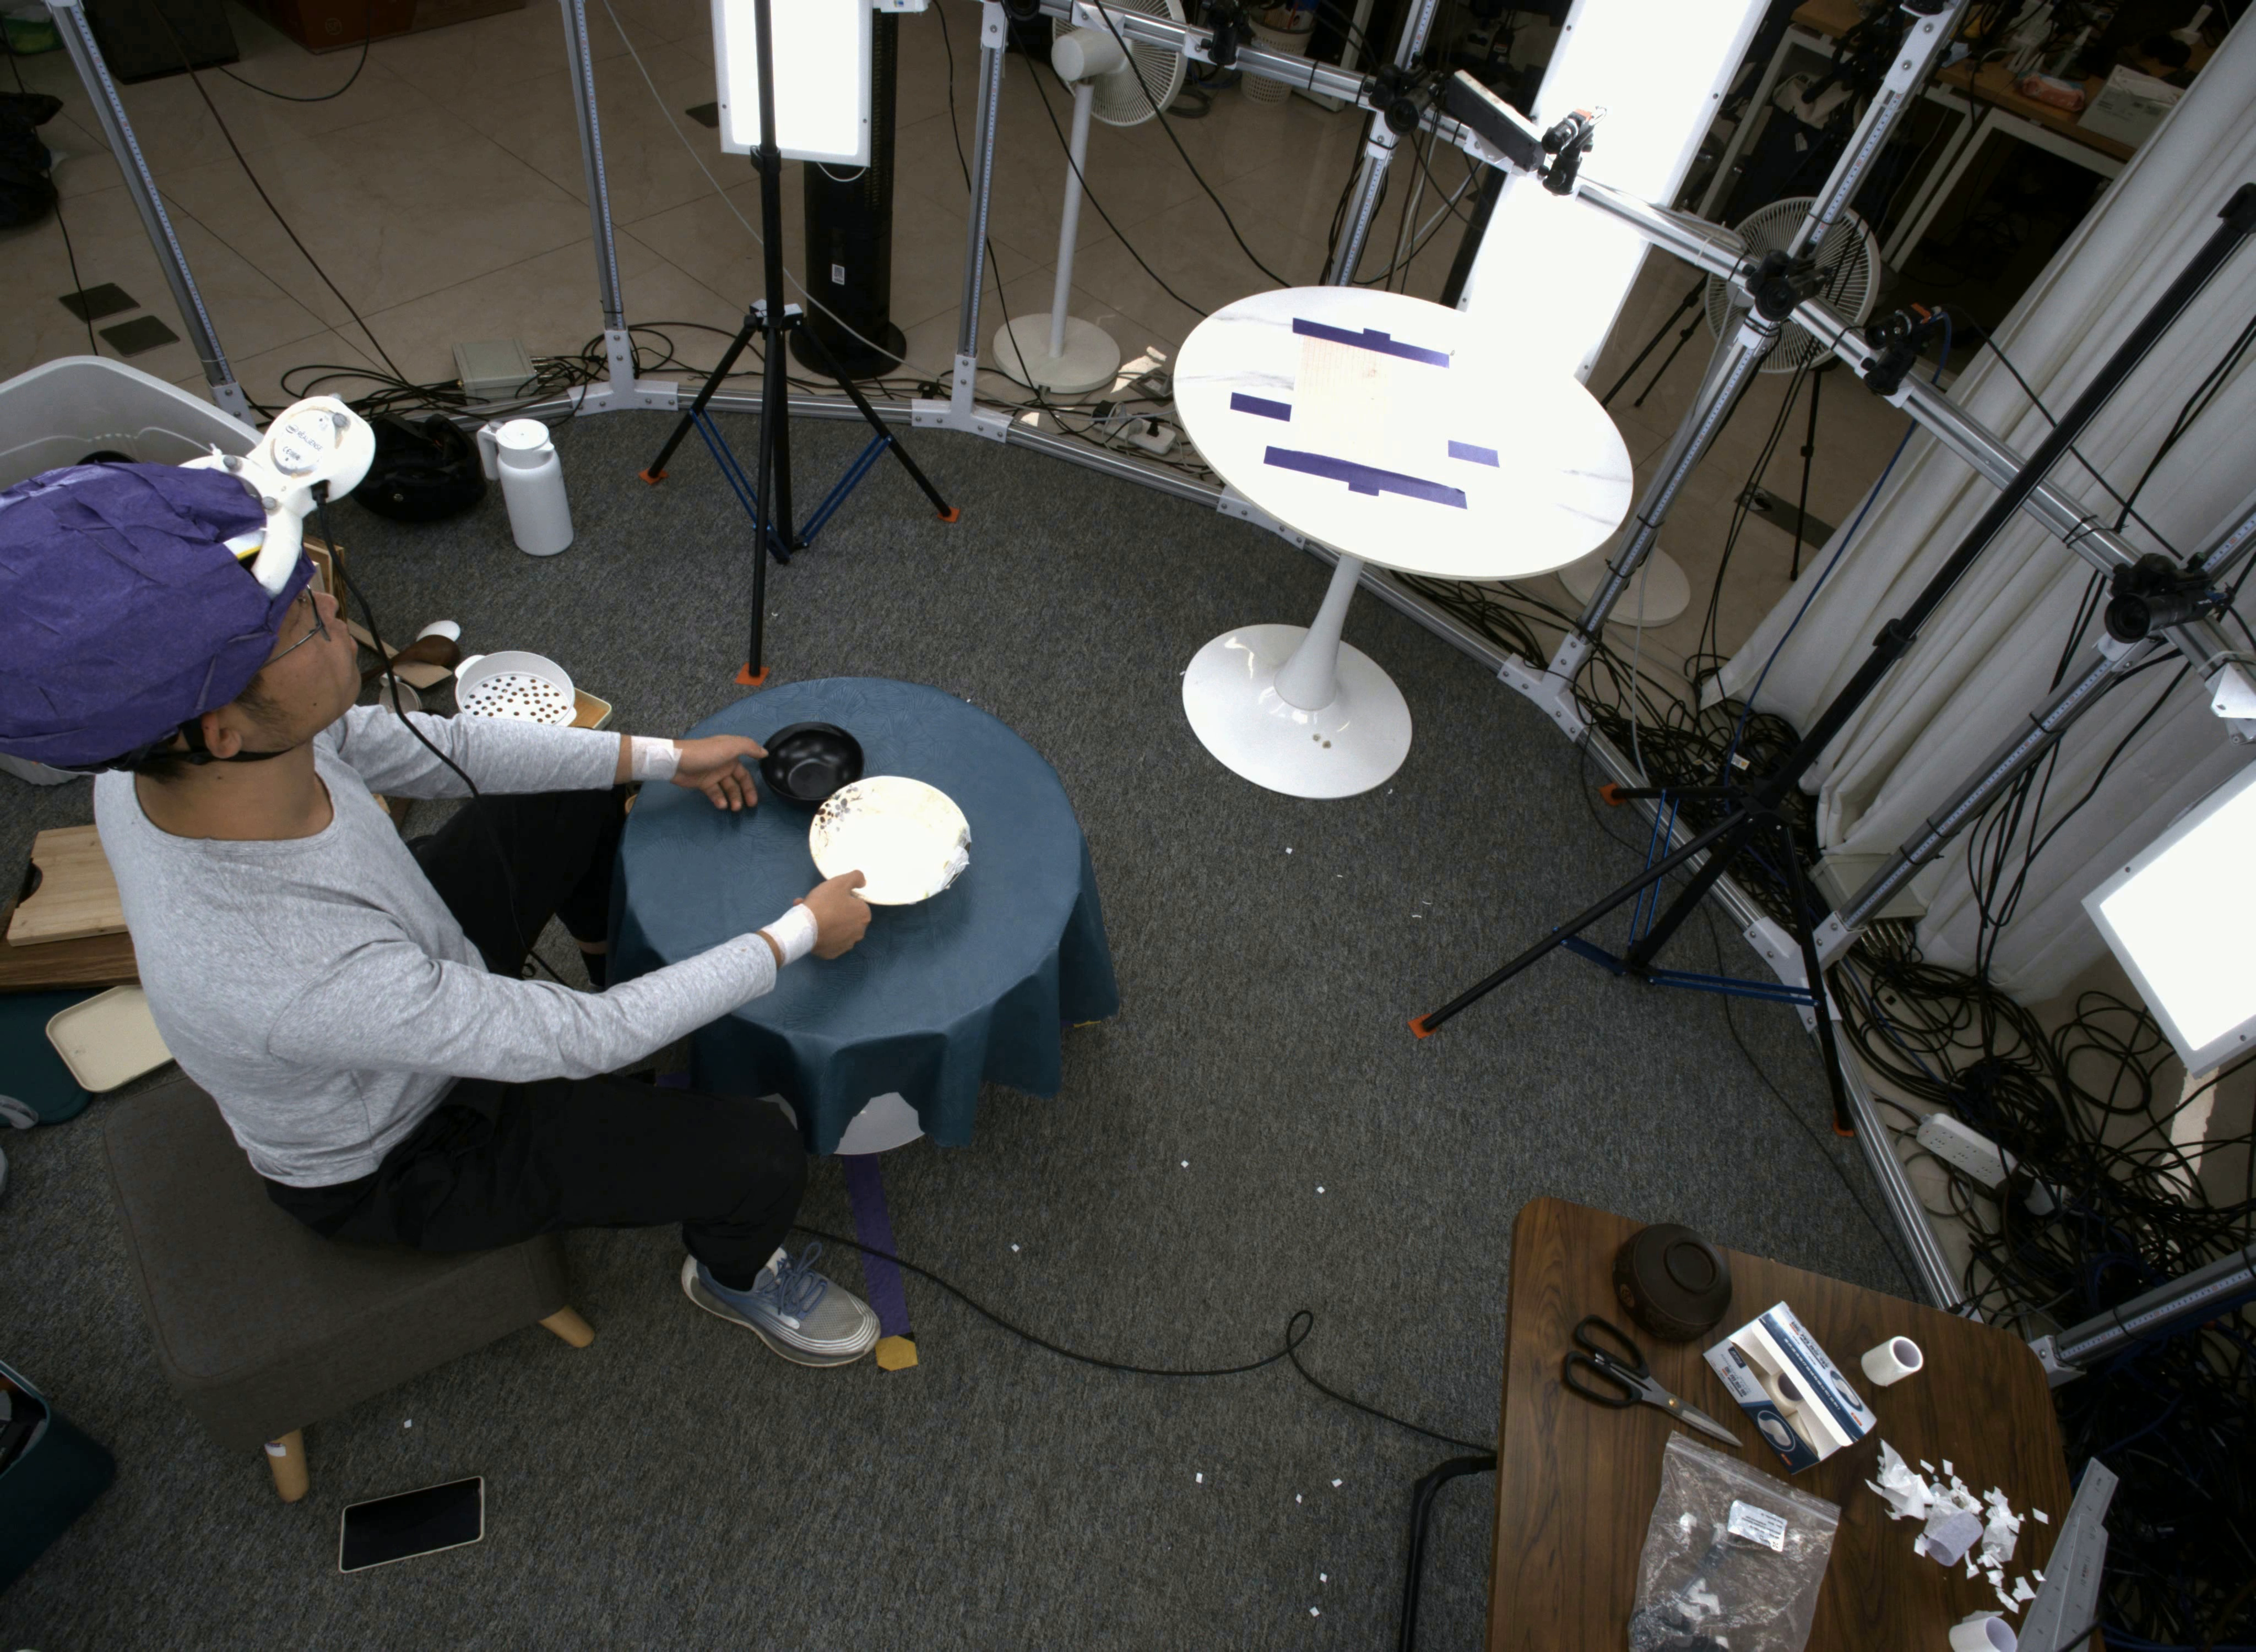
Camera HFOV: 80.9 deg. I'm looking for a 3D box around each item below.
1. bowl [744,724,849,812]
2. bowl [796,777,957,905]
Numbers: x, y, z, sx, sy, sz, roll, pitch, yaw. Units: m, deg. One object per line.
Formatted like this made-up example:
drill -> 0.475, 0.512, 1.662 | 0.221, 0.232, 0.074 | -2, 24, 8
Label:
bowl -> -0.446, -0.071, 1.753 | 0.139, 0.051, 0.137 | 5, 54, -6
bowl -> -0.324, 0.037, 1.683 | 0.203, 0.079, 0.200 | 7, 52, -7
